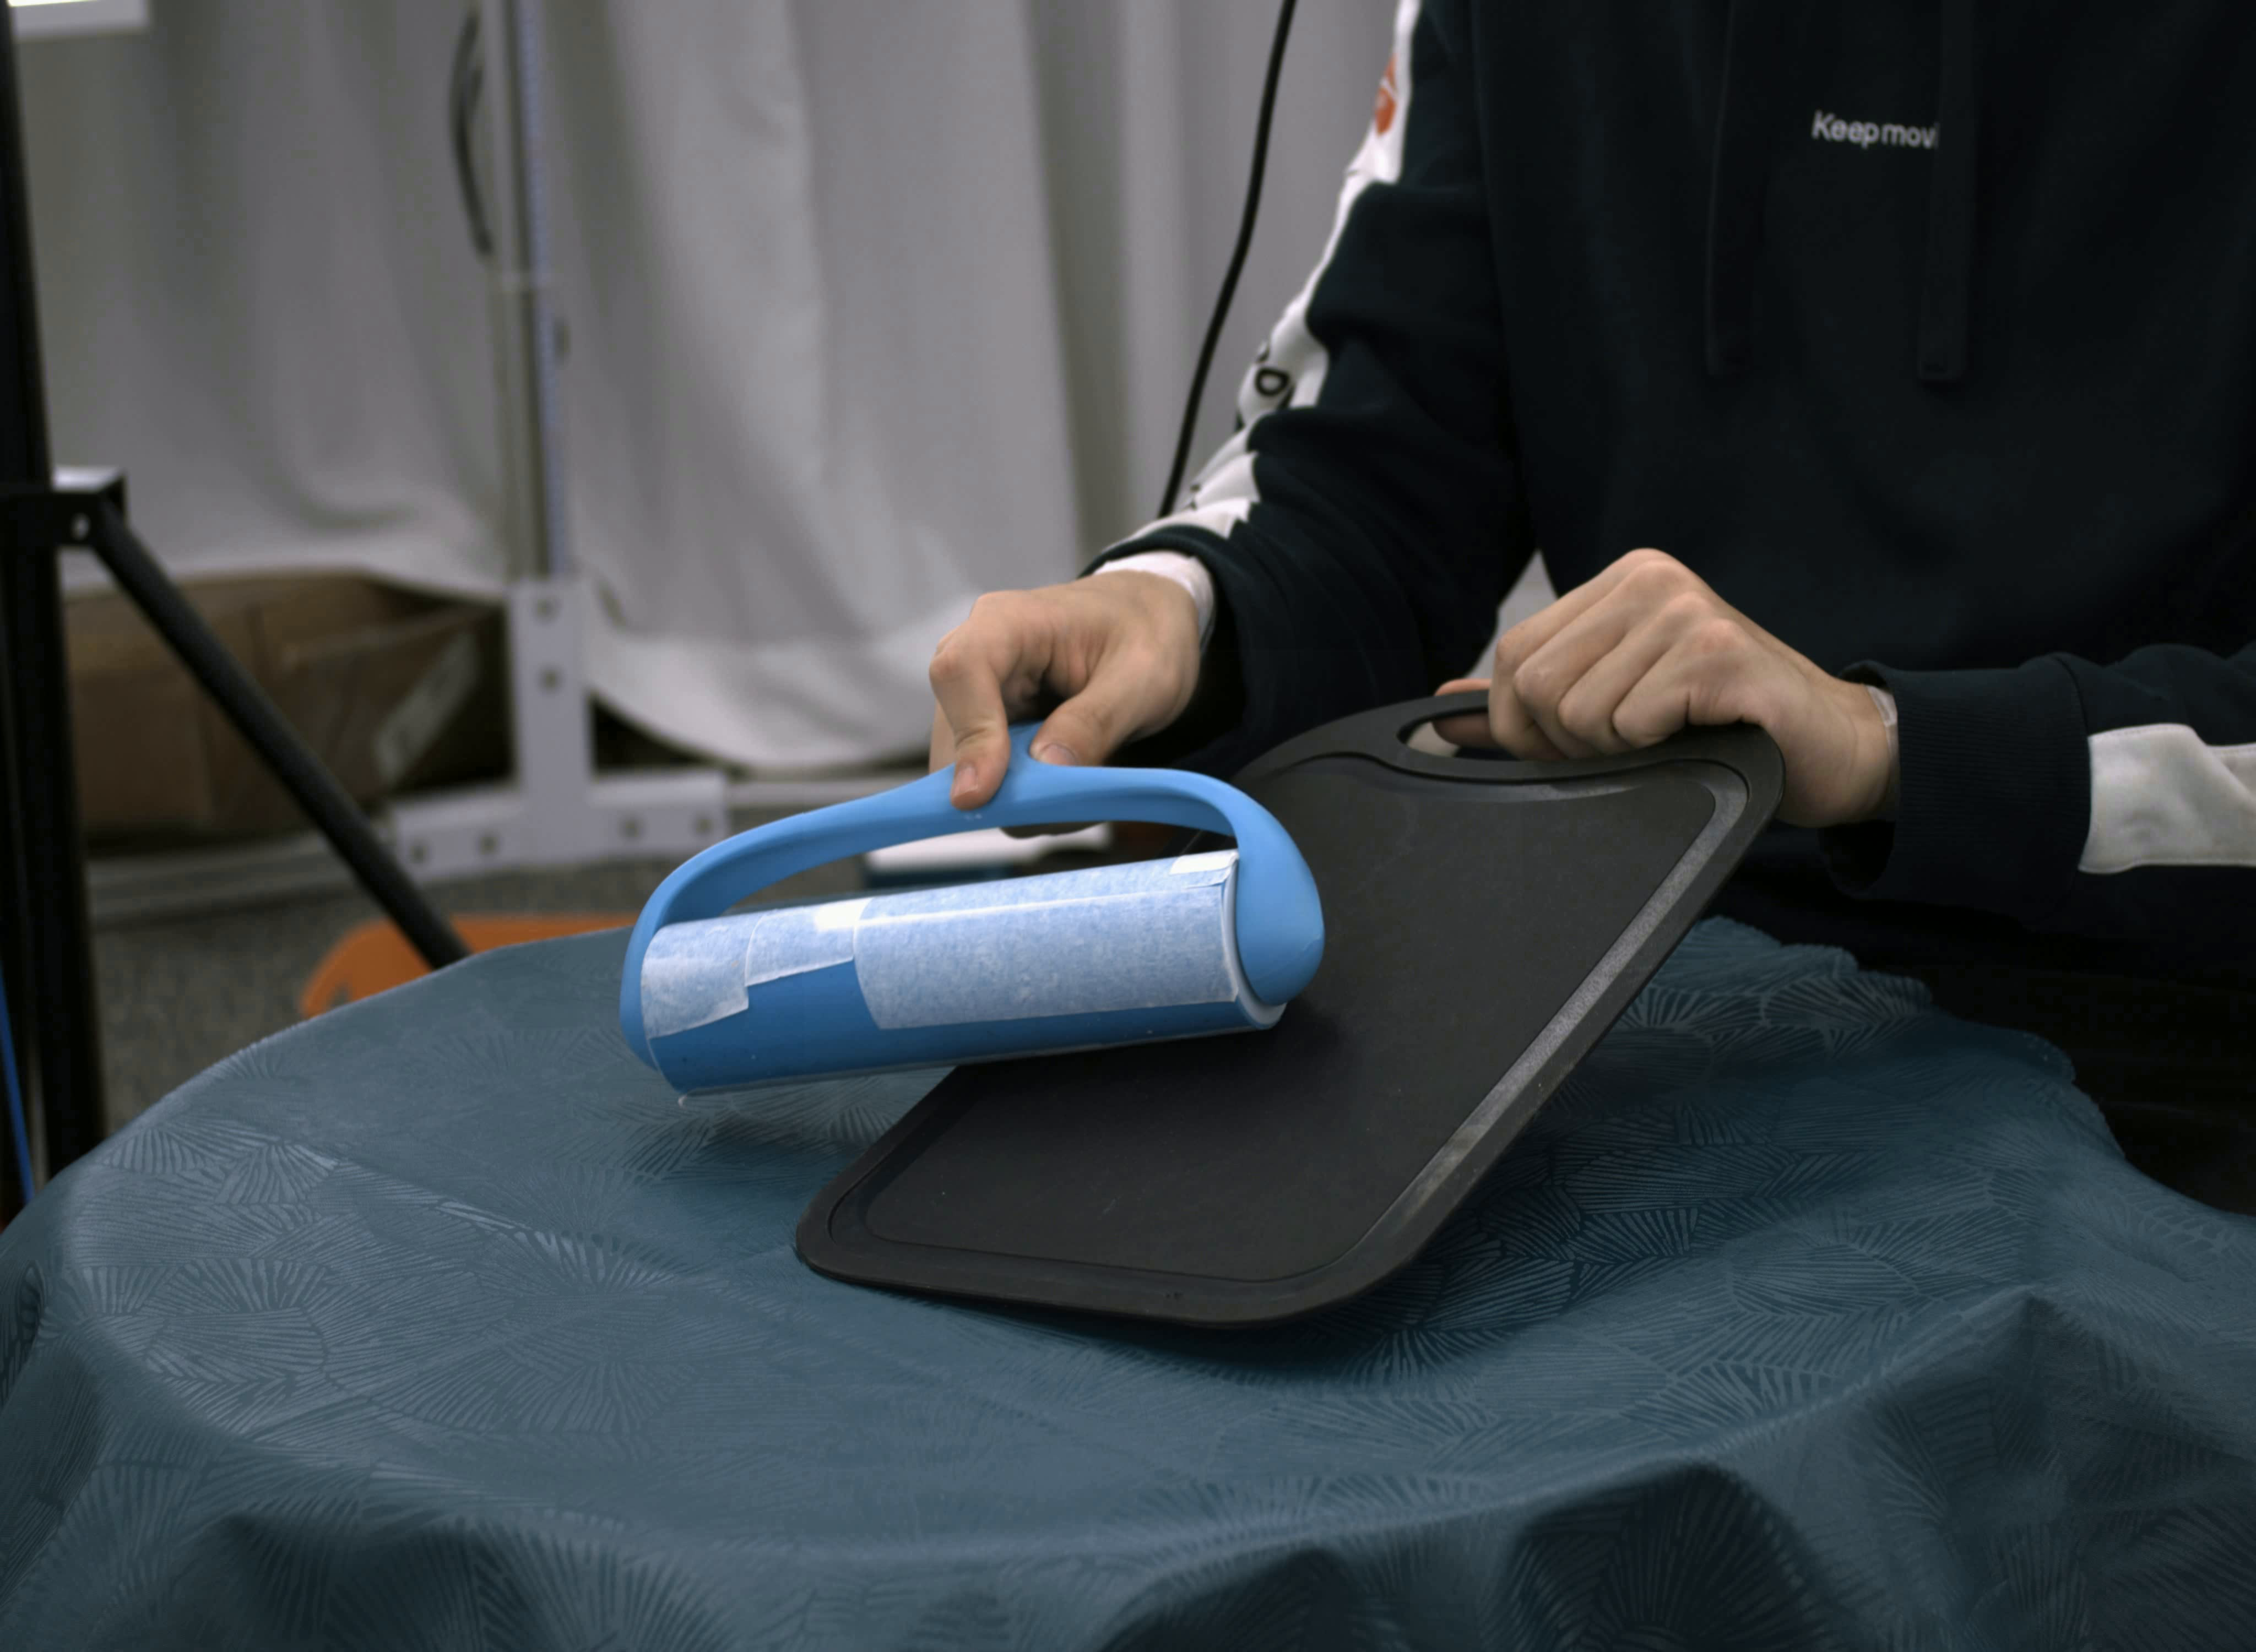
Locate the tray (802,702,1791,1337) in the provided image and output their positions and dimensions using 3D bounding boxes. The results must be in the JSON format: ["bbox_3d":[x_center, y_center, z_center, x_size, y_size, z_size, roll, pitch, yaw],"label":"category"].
[{"bbox_3d":[0.056,0.047,1.562,0.215,0.010,0.321,3,34,38],"label":"tray"}]

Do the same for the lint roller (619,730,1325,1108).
[{"bbox_3d":[-0.037,0.011,1.631,0.231,0.067,0.180,-11,33,23],"label":"lint roller"}]
